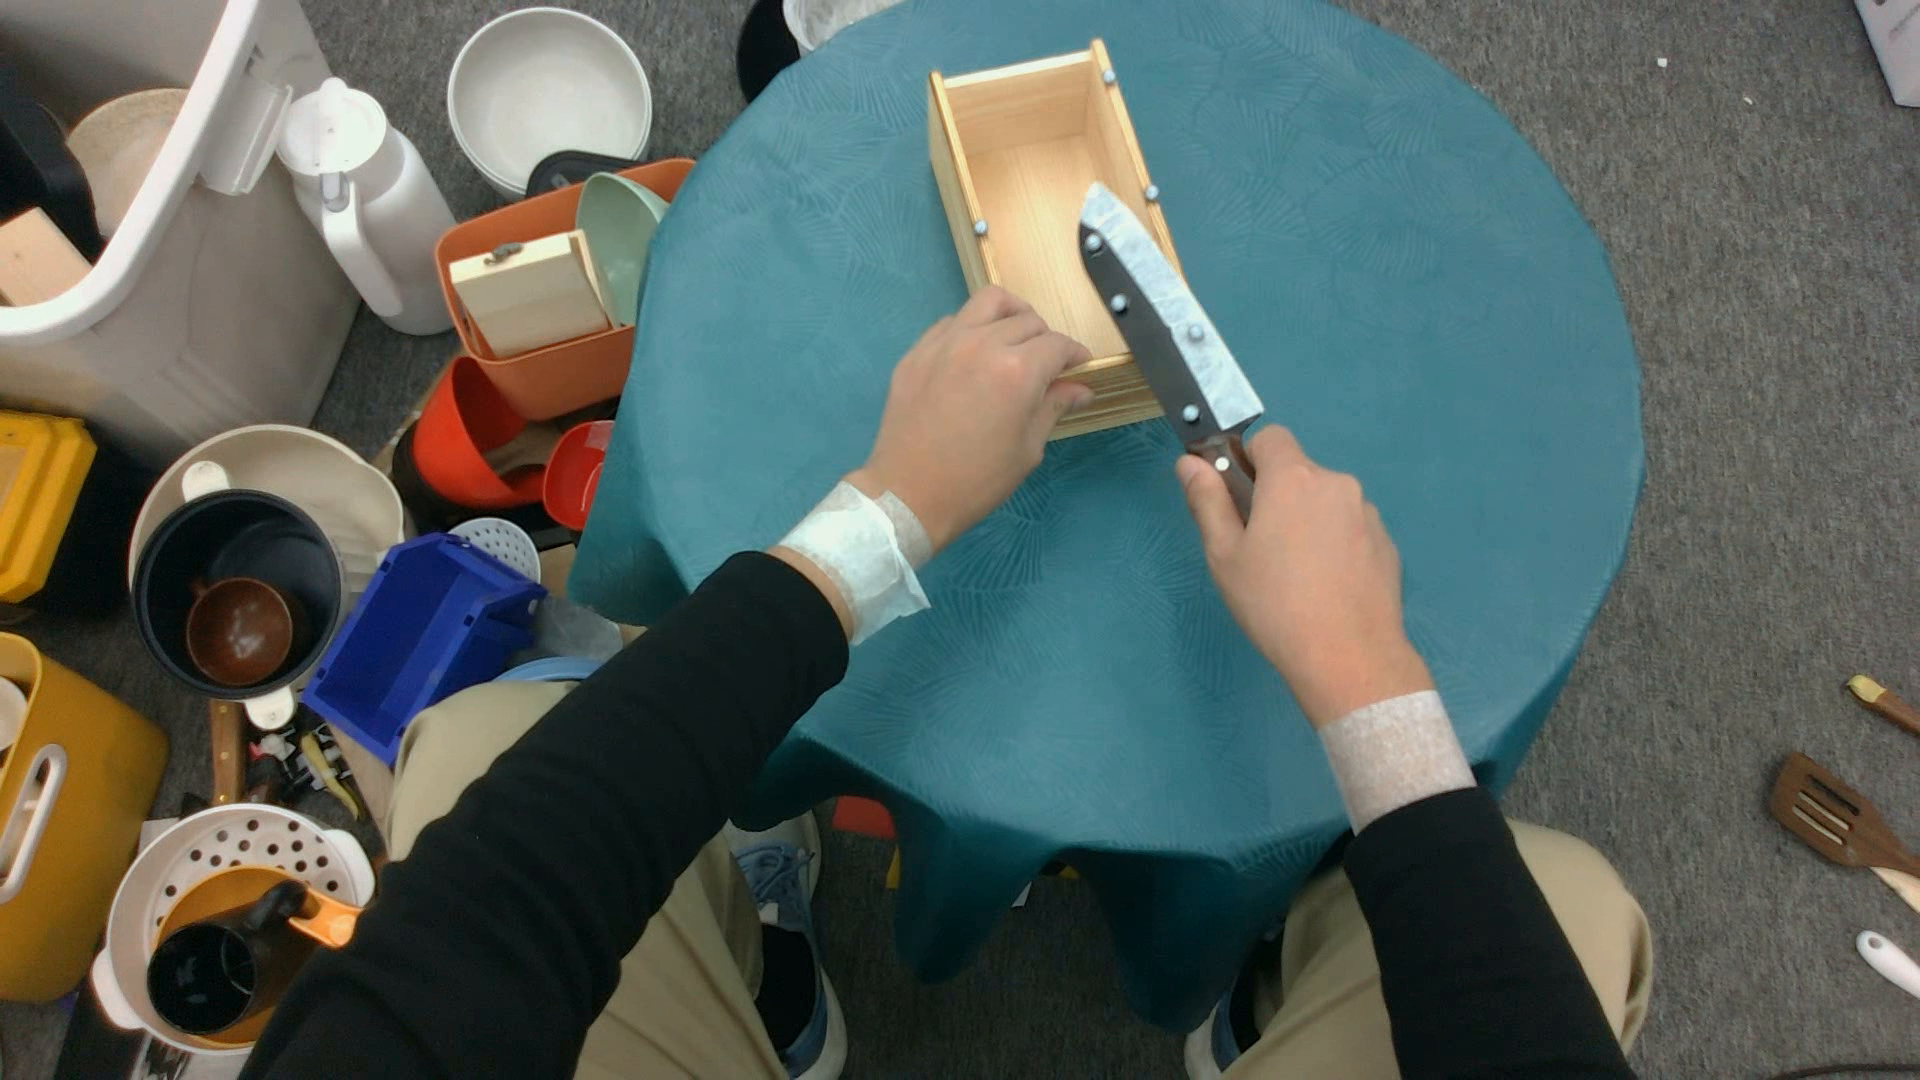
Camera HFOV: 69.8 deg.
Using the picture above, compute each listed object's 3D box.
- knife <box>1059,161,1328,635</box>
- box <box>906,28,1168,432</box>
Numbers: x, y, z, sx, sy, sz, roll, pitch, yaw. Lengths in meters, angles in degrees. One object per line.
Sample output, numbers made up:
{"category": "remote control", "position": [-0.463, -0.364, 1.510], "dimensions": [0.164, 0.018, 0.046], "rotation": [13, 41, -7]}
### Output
{"category": "knife", "position": [0.115, -0.083, 0.706], "dimensions": [0.050, 0.020, 0.290], "rotation": [-25, 69, 6]}
{"category": "box", "position": [0.044, -0.182, 0.803], "dimensions": [0.107, 0.080, 0.212], "rotation": [-13, 69, -6]}
